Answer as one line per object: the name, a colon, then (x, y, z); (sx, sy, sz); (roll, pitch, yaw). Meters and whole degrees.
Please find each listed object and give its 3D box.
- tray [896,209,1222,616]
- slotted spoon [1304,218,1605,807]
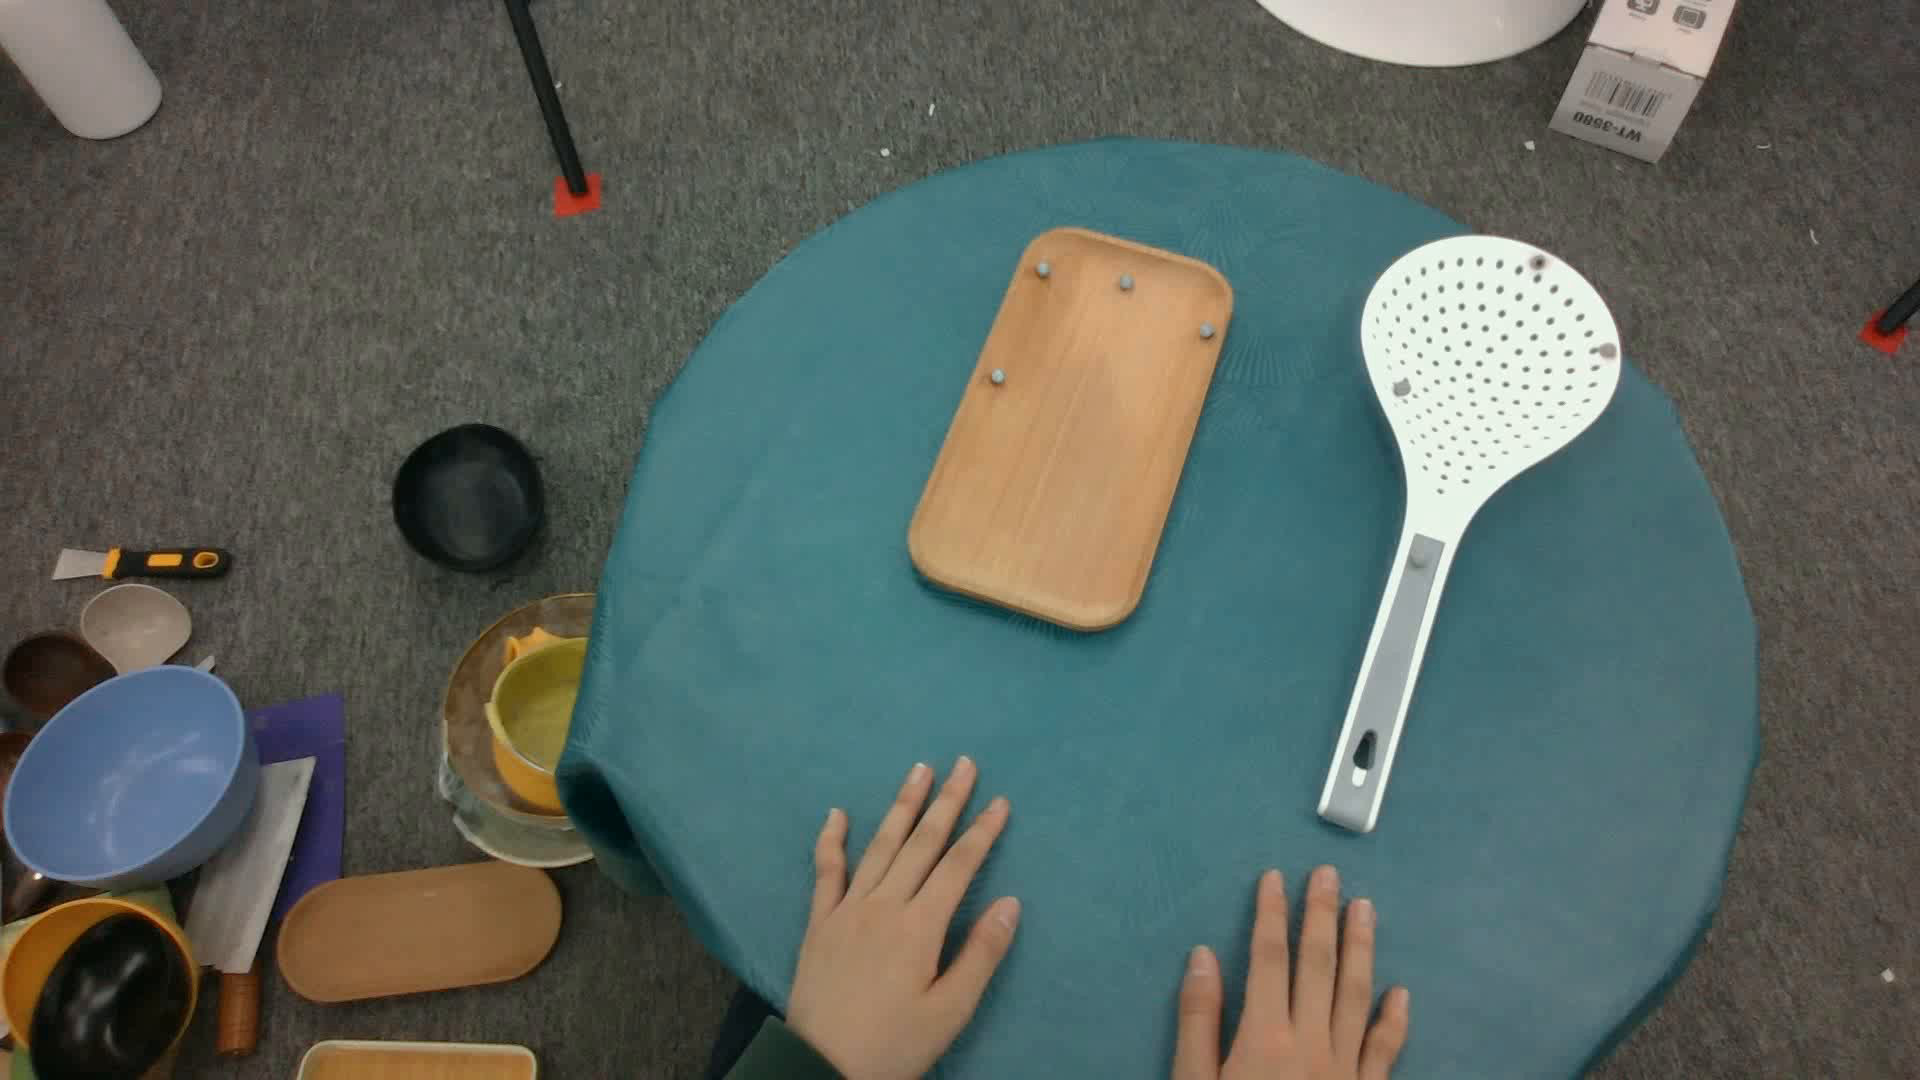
tray: (0.059, -0.077, 0.763); (0.130, 0.023, 0.252); (17, 64, 10)
slotted spoon: (0.244, -0.025, 0.722); (0.136, 0.045, 0.351); (19, 64, 11)
